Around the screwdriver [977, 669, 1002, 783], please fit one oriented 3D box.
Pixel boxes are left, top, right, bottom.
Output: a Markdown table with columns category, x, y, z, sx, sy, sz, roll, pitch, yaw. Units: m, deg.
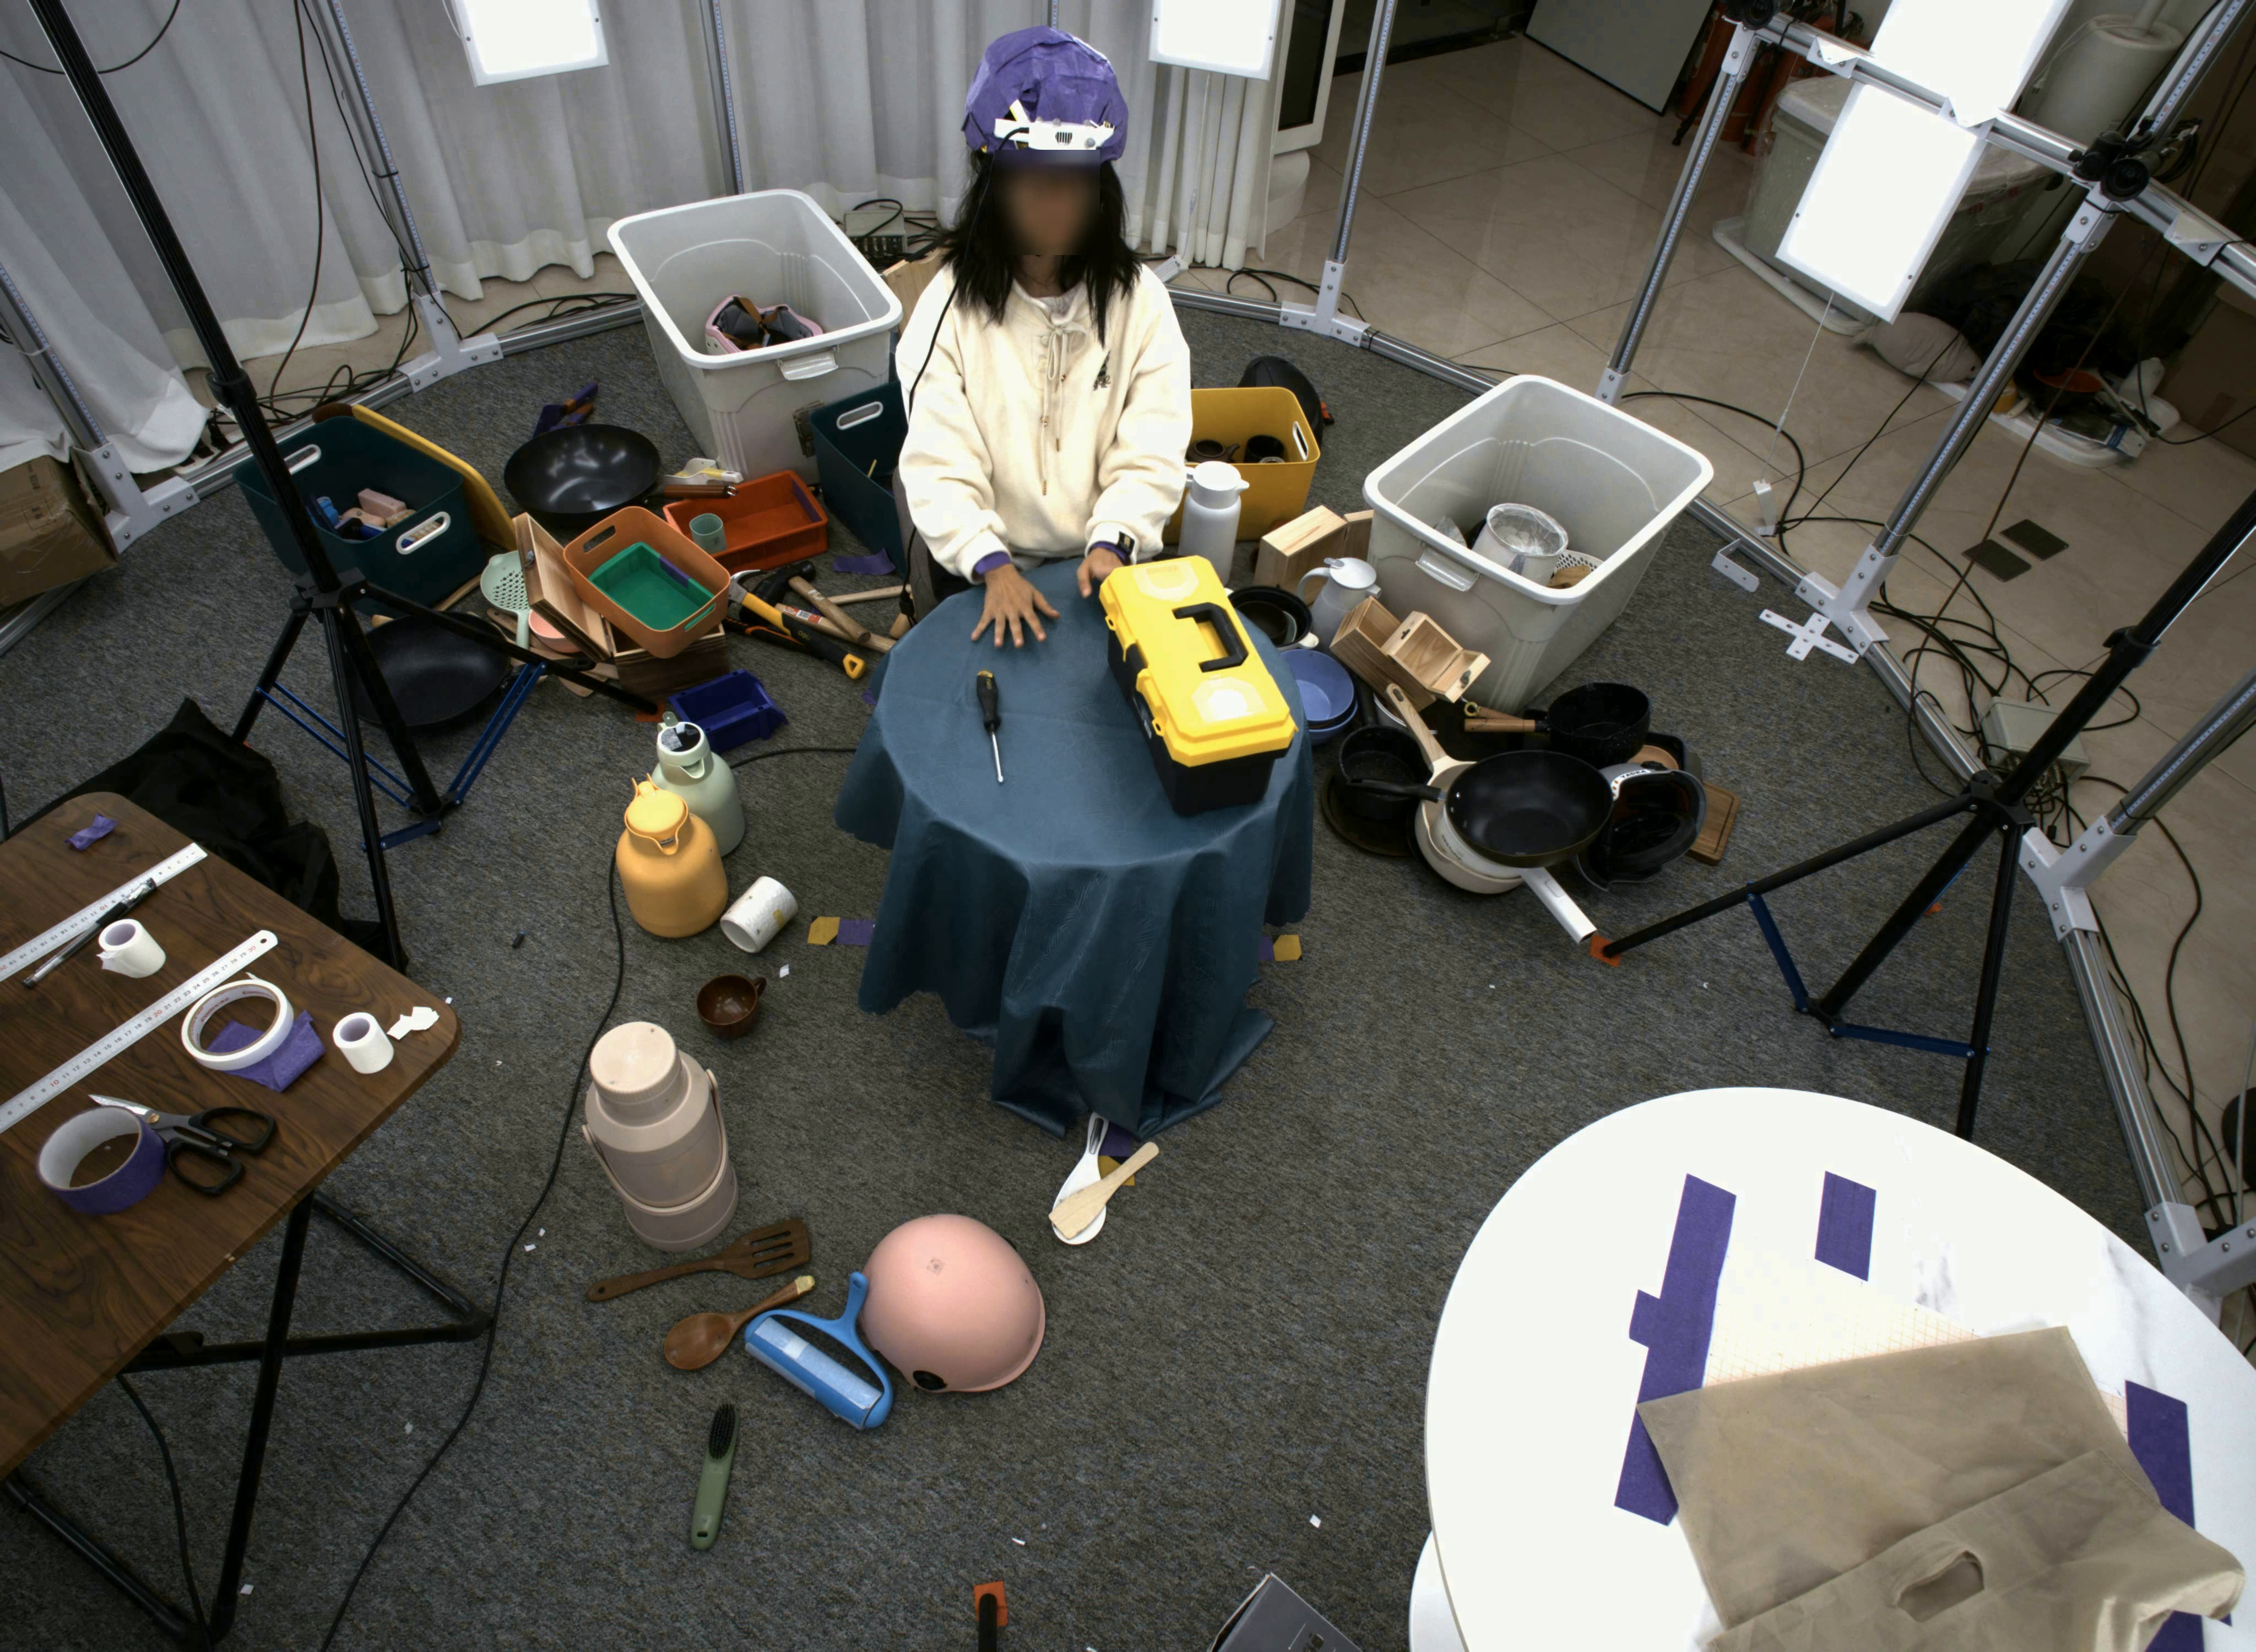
| category | x | y | z | sx | sy | sz | roll | pitch | yaw |
| --- | --- | --- | --- | --- | --- | --- | --- | --- | --- |
| screwdriver | -0.186 | -0.140 | 1.758 | 0.031 | 0.031 | 0.201 | -5 | 51 | -9 |

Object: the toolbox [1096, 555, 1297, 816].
| category | x | y | z | sx | sy | sz | roll | pitch | yaw |
| --- | --- | --- | --- | --- | --- | --- | --- | --- | --- |
| toolbox | 0.083 | -0.192 | 1.730 | 0.181 | 0.168 | 0.360 | -11 | 51 | -13 |
